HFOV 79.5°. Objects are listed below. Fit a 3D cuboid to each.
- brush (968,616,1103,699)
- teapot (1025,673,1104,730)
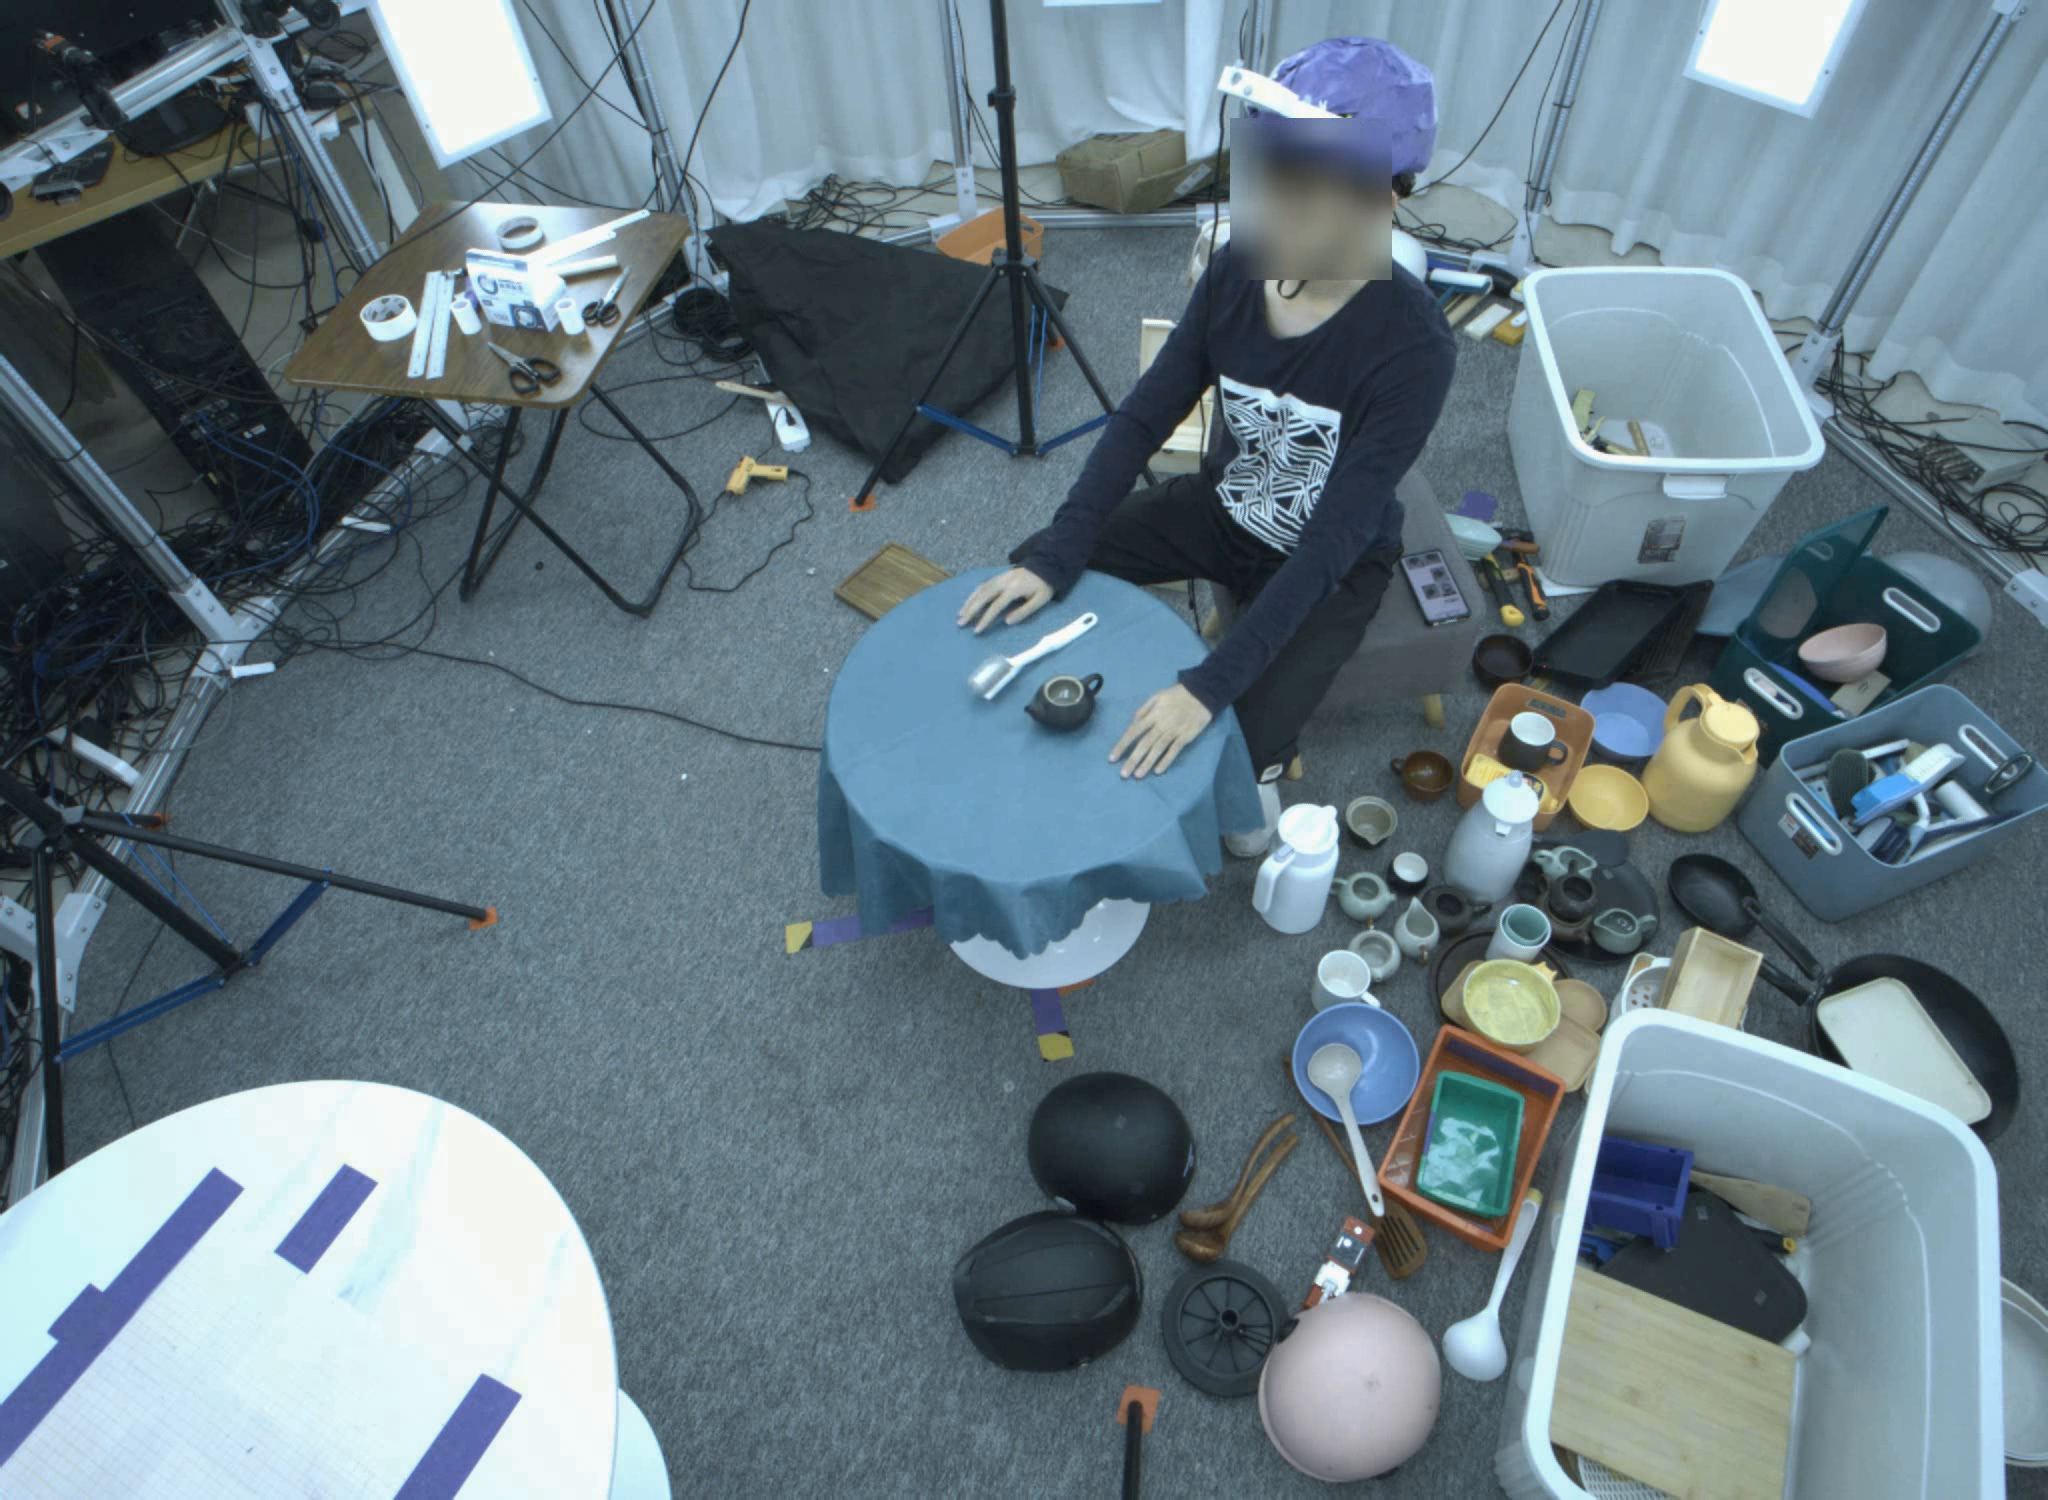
[{"bbox_3d":[0.020,-0.153,1.859,0.245,0.051,0.034,-33,56,-19],"label":"brush"},{"bbox_3d":[0.060,-0.072,1.796,0.134,0.053,0.089,-27,61,-17],"label":"teapot"}]
